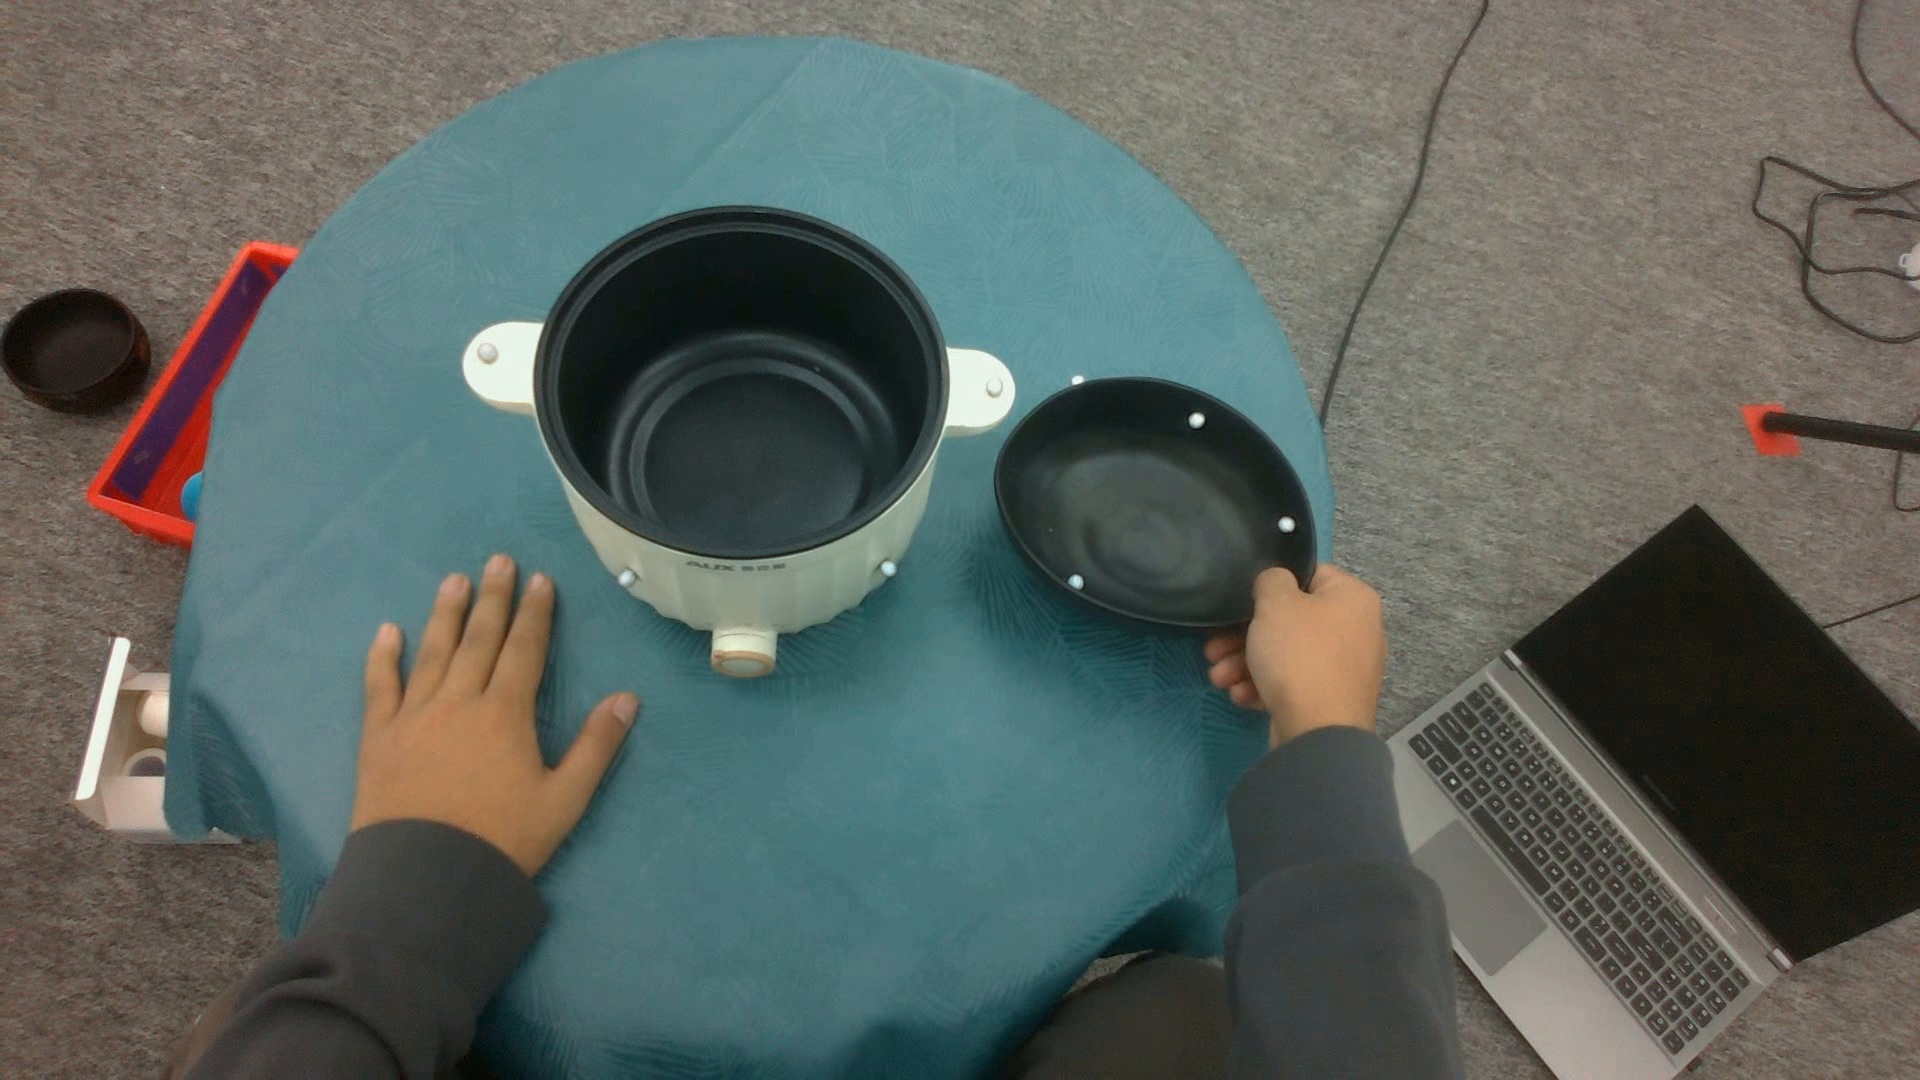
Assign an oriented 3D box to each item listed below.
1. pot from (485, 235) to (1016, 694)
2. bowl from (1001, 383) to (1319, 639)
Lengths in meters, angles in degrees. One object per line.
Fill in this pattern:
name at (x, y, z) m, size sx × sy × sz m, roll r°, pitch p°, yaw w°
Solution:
pot at (-0.096, -0.032, 0.681) m, size 0.240 × 0.142 × 0.191 m, roll -2°, pitch 61°, yaw -4°
bowl at (0.102, -0.007, 0.725) m, size 0.170 × 0.066 × 0.138 m, roll 16°, pitch 64°, yaw 2°
